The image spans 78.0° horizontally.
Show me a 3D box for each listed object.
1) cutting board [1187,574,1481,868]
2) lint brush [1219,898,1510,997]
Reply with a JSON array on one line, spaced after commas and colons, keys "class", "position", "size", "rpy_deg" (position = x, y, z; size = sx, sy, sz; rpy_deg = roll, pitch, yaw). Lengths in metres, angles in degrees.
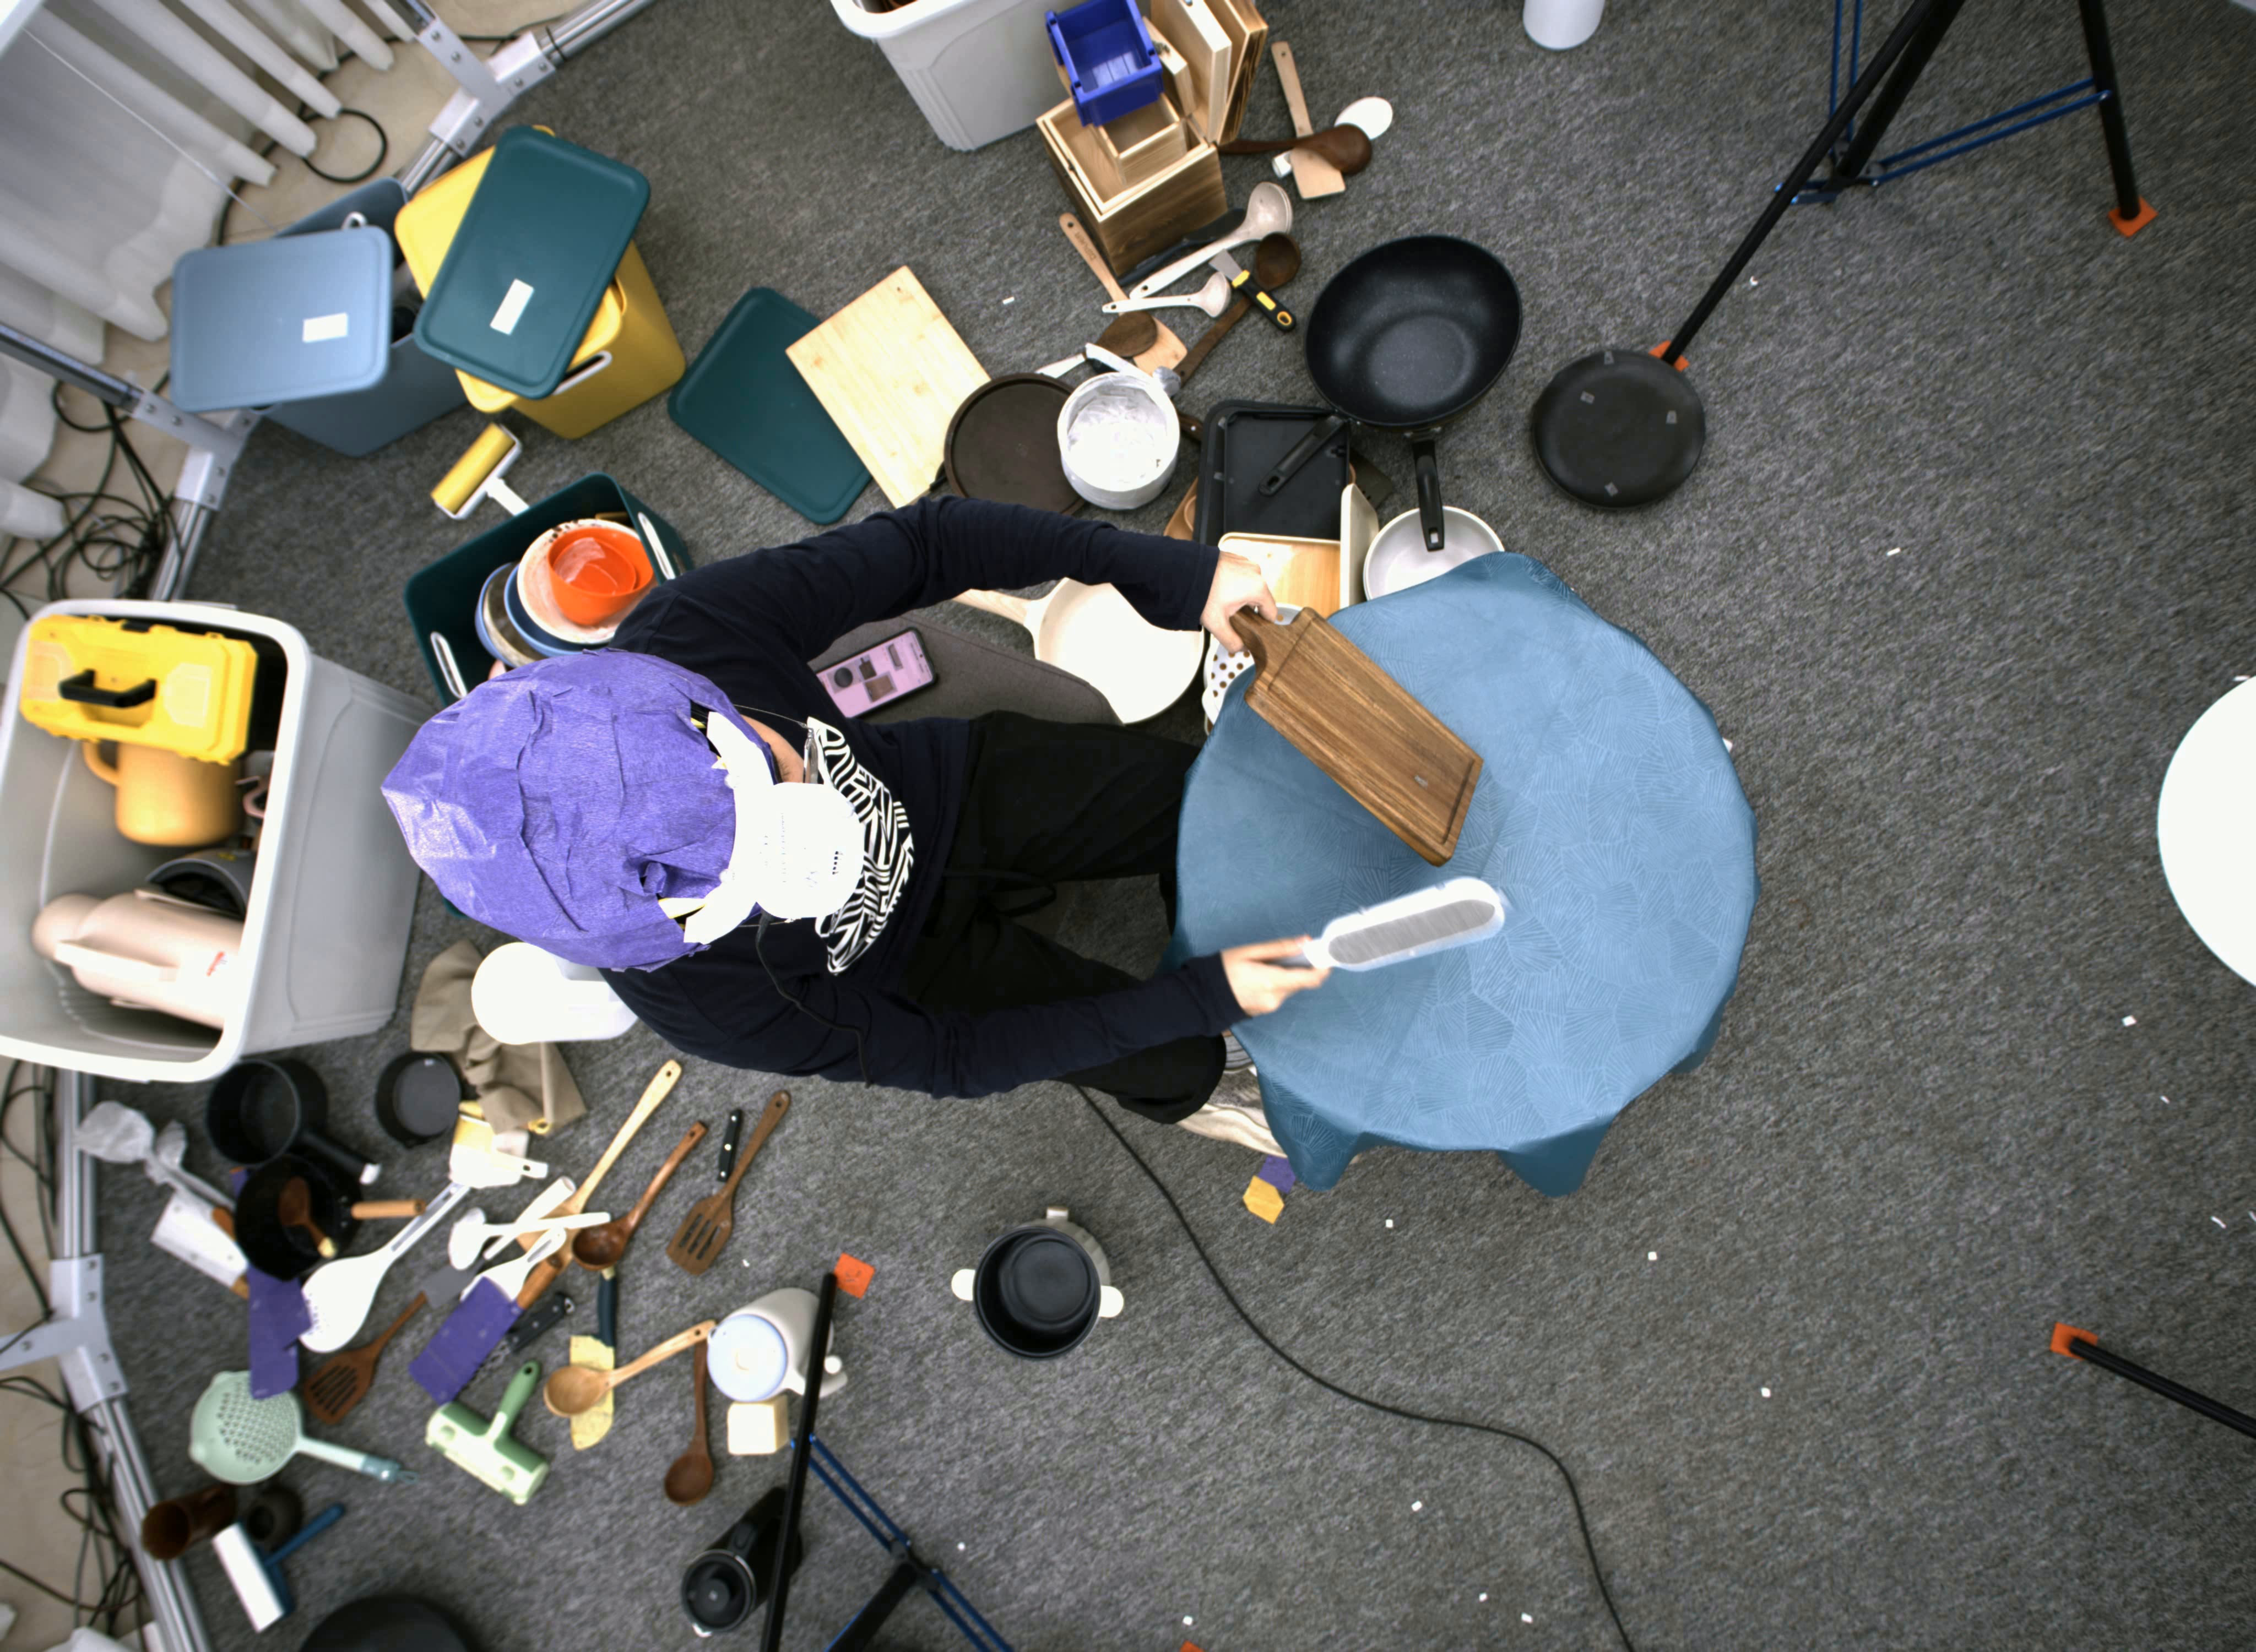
[{"class": "cutting board", "position": [0.200, -0.127, 1.350], "size": [0.353, 0.196, 0.024], "rpy_deg": [40, 131, -6]}, {"class": "lint brush", "position": [0.221, 0.121, 1.339], "size": [0.313, 0.061, 0.020], "rpy_deg": [-19, 38, 32]}]
